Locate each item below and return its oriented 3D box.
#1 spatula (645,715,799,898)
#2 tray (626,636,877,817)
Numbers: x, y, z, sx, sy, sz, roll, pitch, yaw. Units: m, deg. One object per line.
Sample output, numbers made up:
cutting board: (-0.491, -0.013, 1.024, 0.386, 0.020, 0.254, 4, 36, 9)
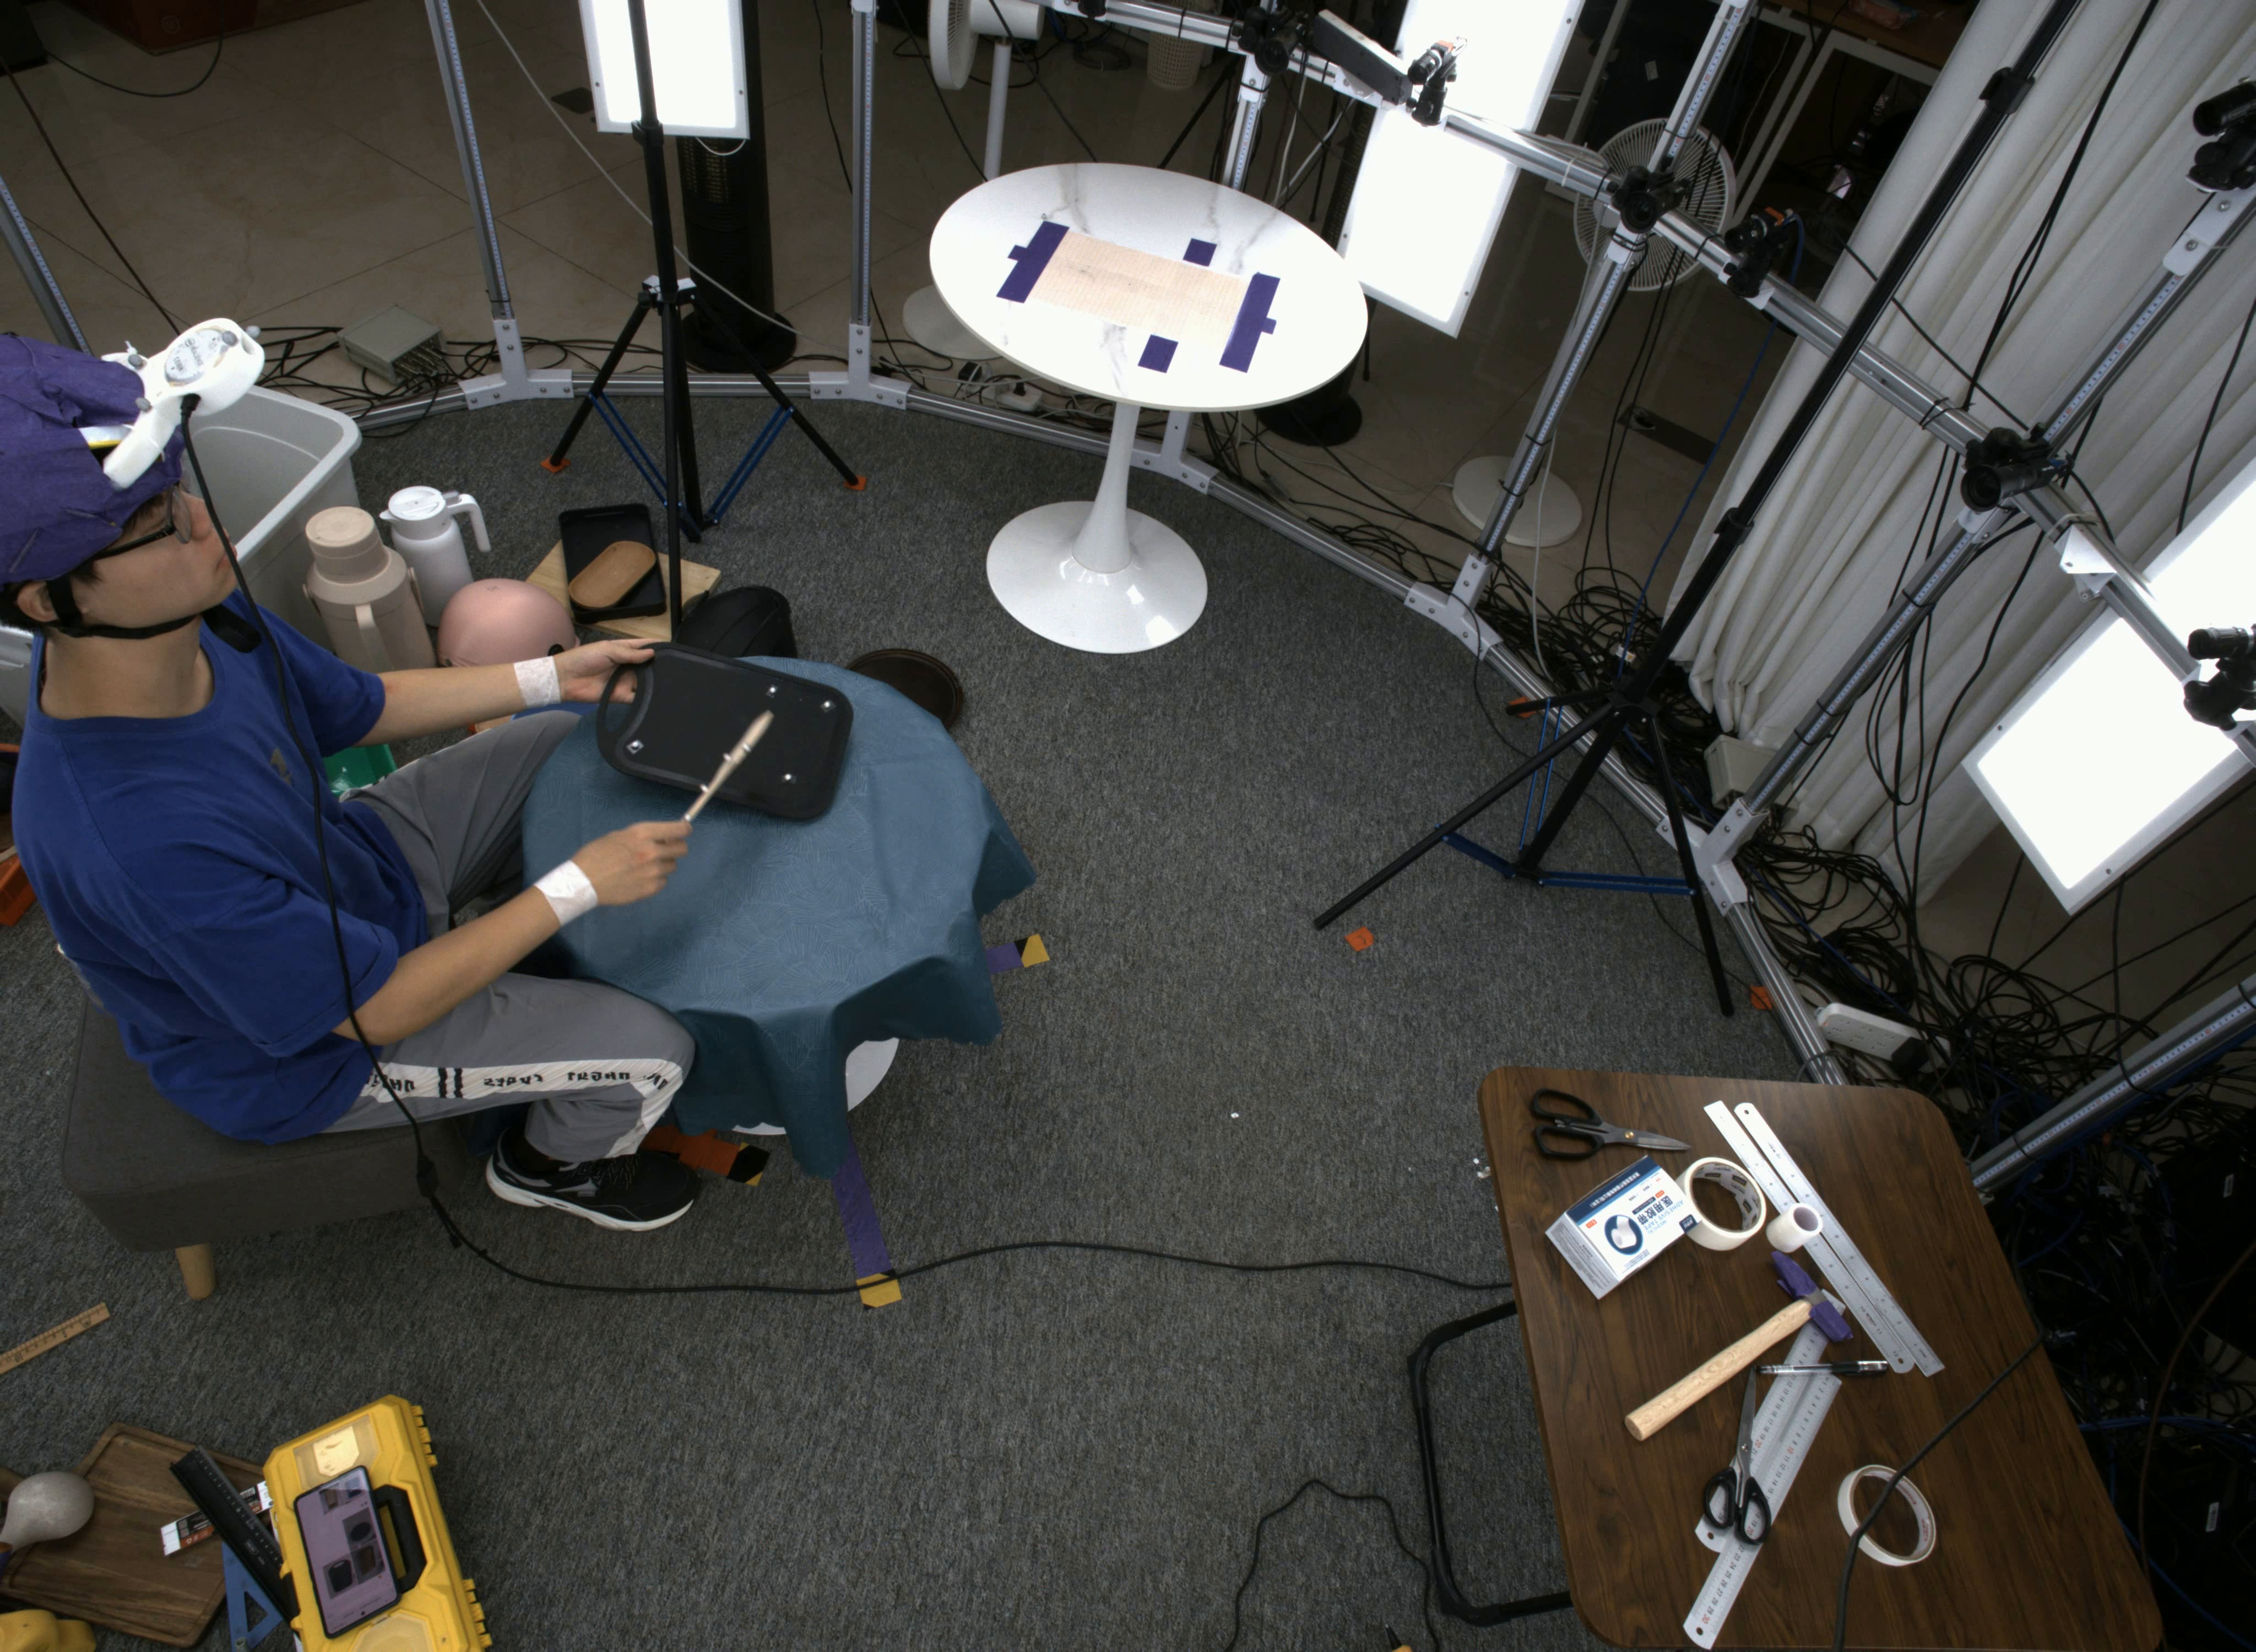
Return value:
spatula: (-0.499, -0.026, 1.587, 0.011, 0.070, 0.292, 44, 61, -20)
tray: (-0.514, -0.140, 1.746, 0.327, 0.010, 0.209, 18, 63, -14)
